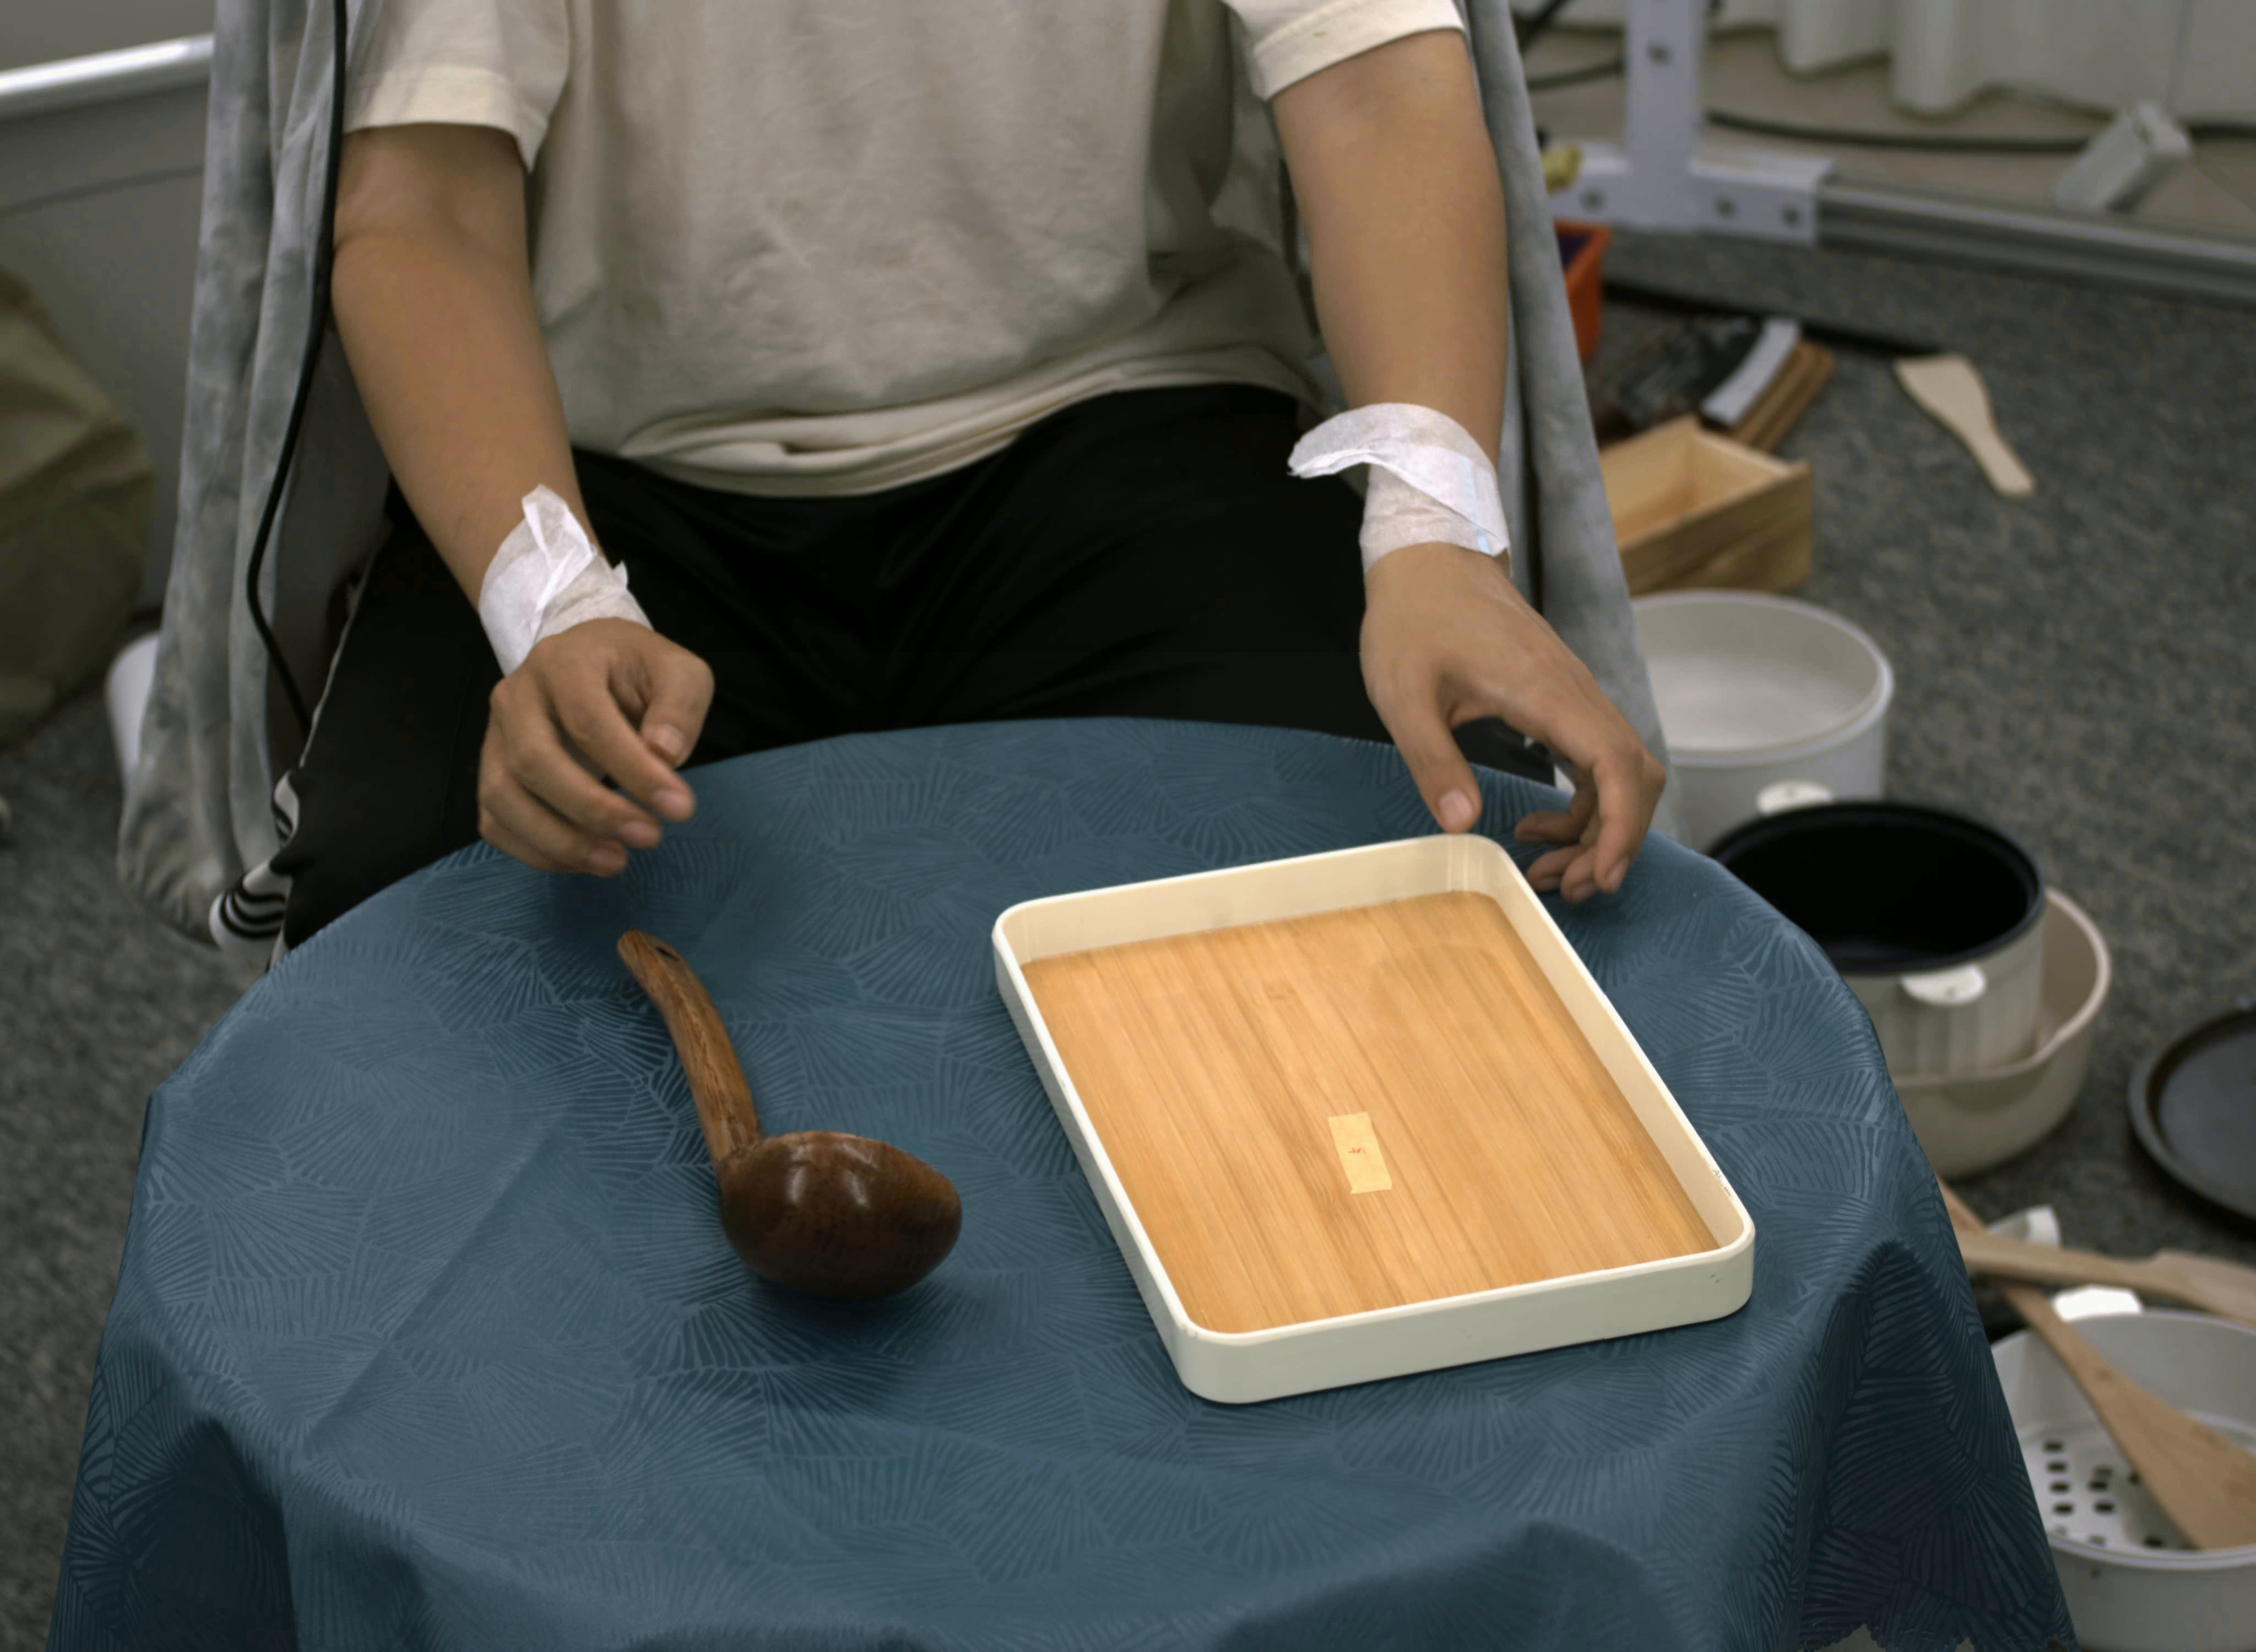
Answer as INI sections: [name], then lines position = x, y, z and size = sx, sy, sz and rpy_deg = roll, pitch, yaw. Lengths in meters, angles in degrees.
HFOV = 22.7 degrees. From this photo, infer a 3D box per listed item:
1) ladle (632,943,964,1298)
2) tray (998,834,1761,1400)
[ladle]
position = -0.121, 0.079, 1.880
size = 0.081, 0.076, 0.277
rpy_deg = 29, 15, -25
[tray]
position = 0.077, 0.091, 1.881
size = 0.191, 0.027, 0.303
rpy_deg = -9, 28, -11
